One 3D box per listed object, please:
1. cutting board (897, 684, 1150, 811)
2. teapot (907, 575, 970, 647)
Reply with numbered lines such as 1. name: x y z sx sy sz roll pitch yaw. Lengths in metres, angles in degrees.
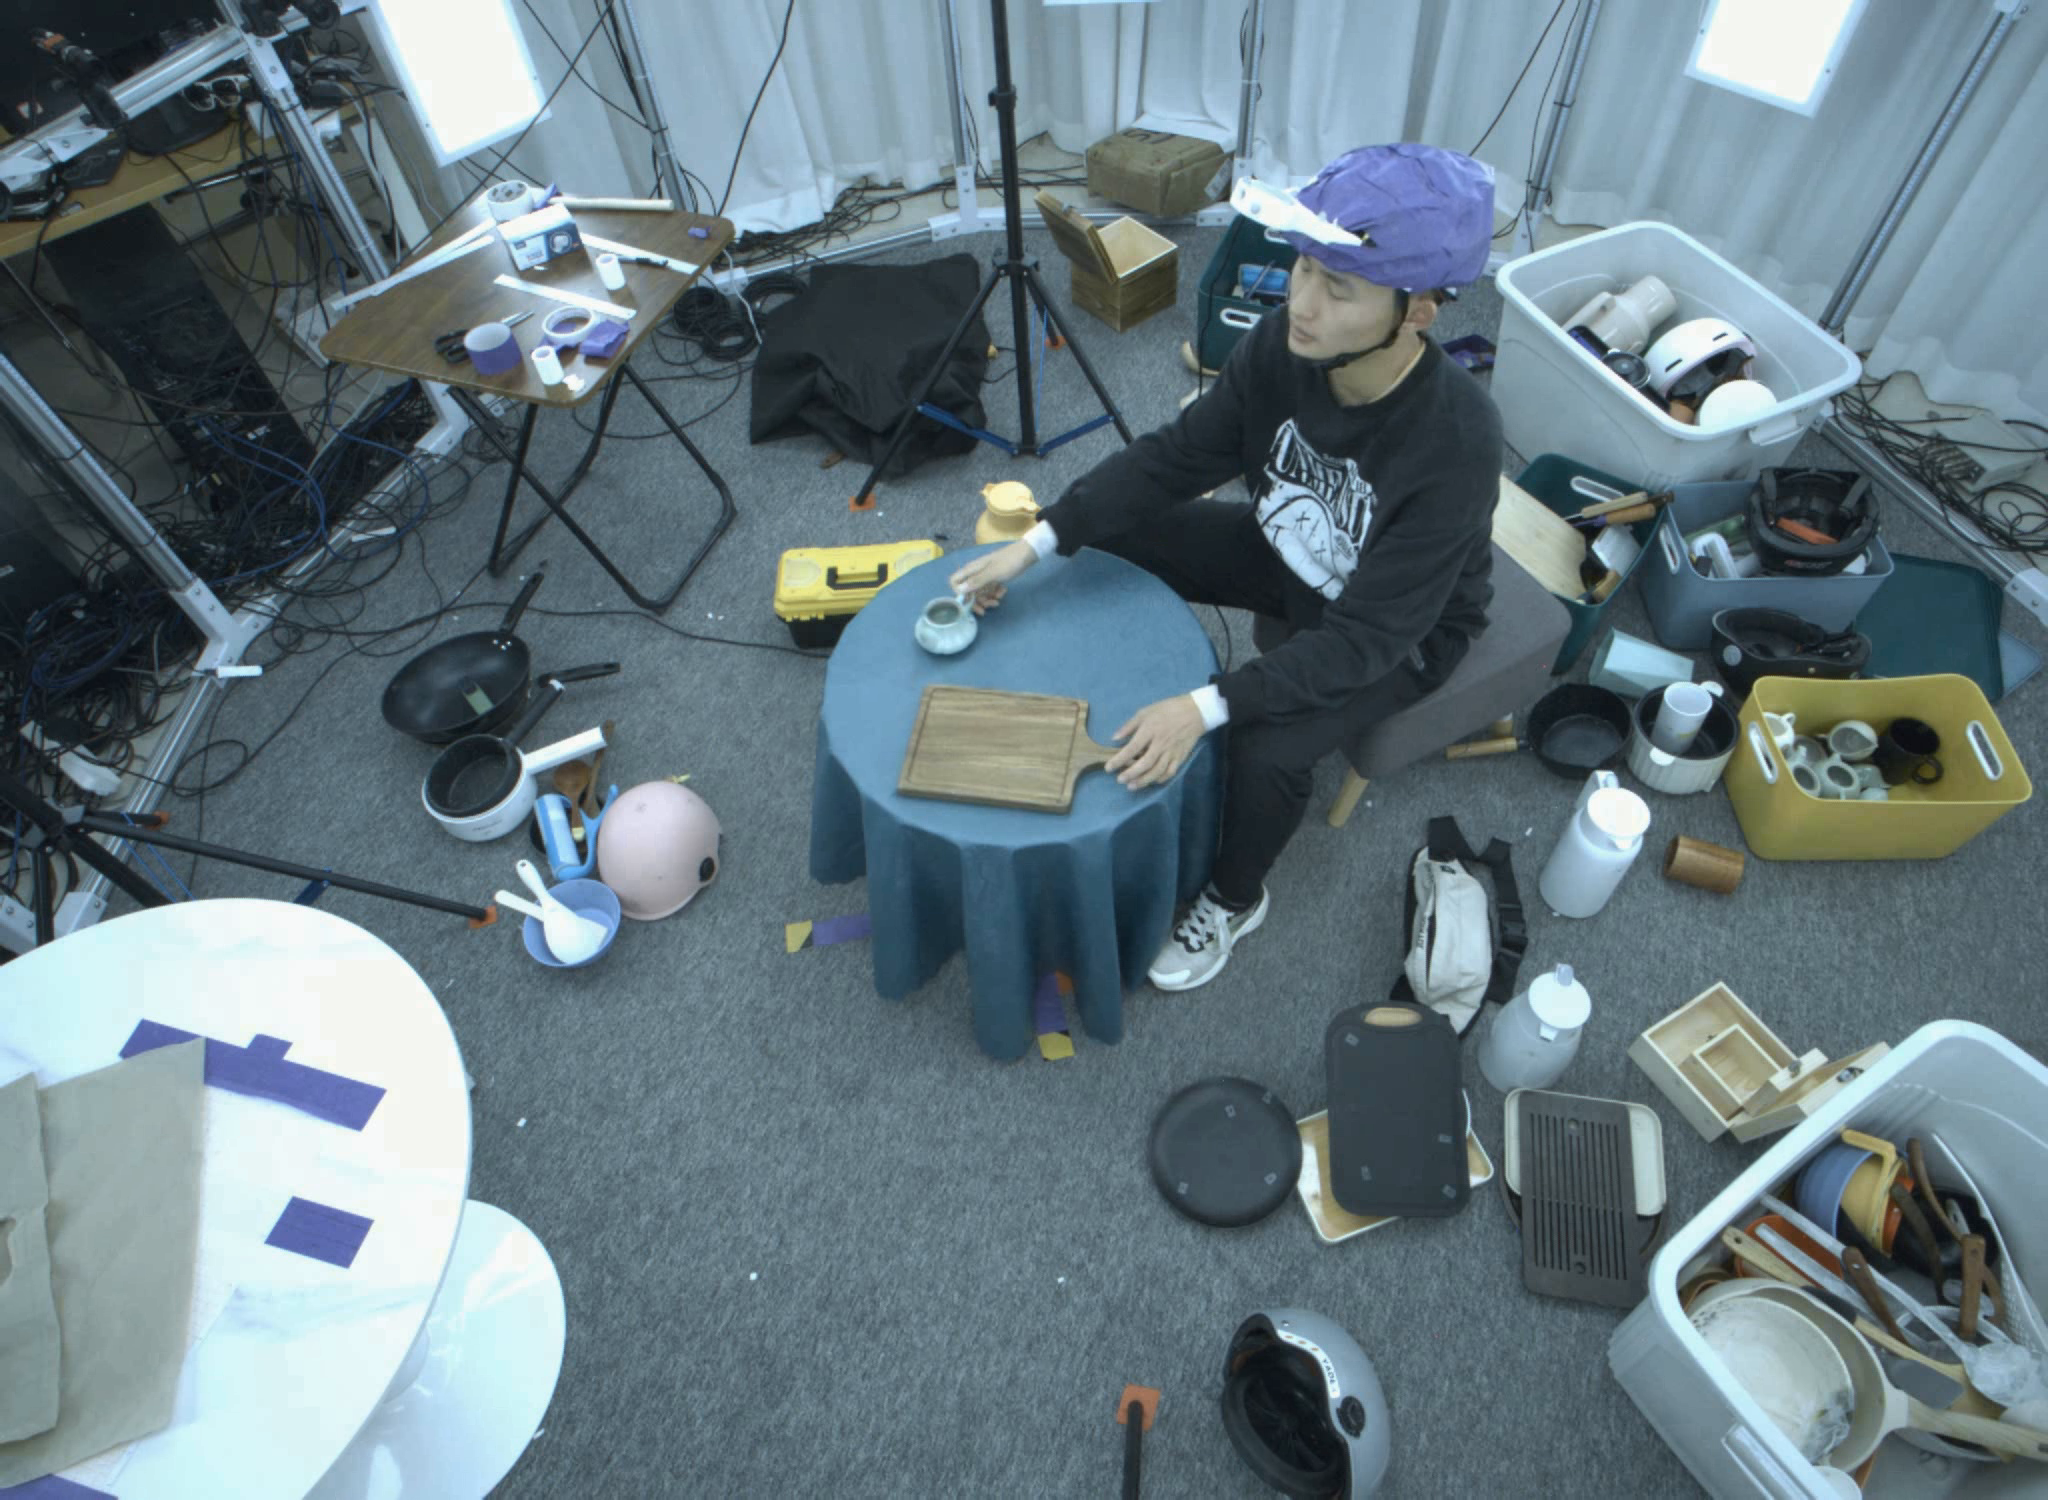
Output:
1. cutting board: 0.006 -0.003 1.772 0.350 0.023 0.199 5 55 6
2. teapot: -0.127 -0.212 1.882 0.096 0.061 0.137 37 77 -3
